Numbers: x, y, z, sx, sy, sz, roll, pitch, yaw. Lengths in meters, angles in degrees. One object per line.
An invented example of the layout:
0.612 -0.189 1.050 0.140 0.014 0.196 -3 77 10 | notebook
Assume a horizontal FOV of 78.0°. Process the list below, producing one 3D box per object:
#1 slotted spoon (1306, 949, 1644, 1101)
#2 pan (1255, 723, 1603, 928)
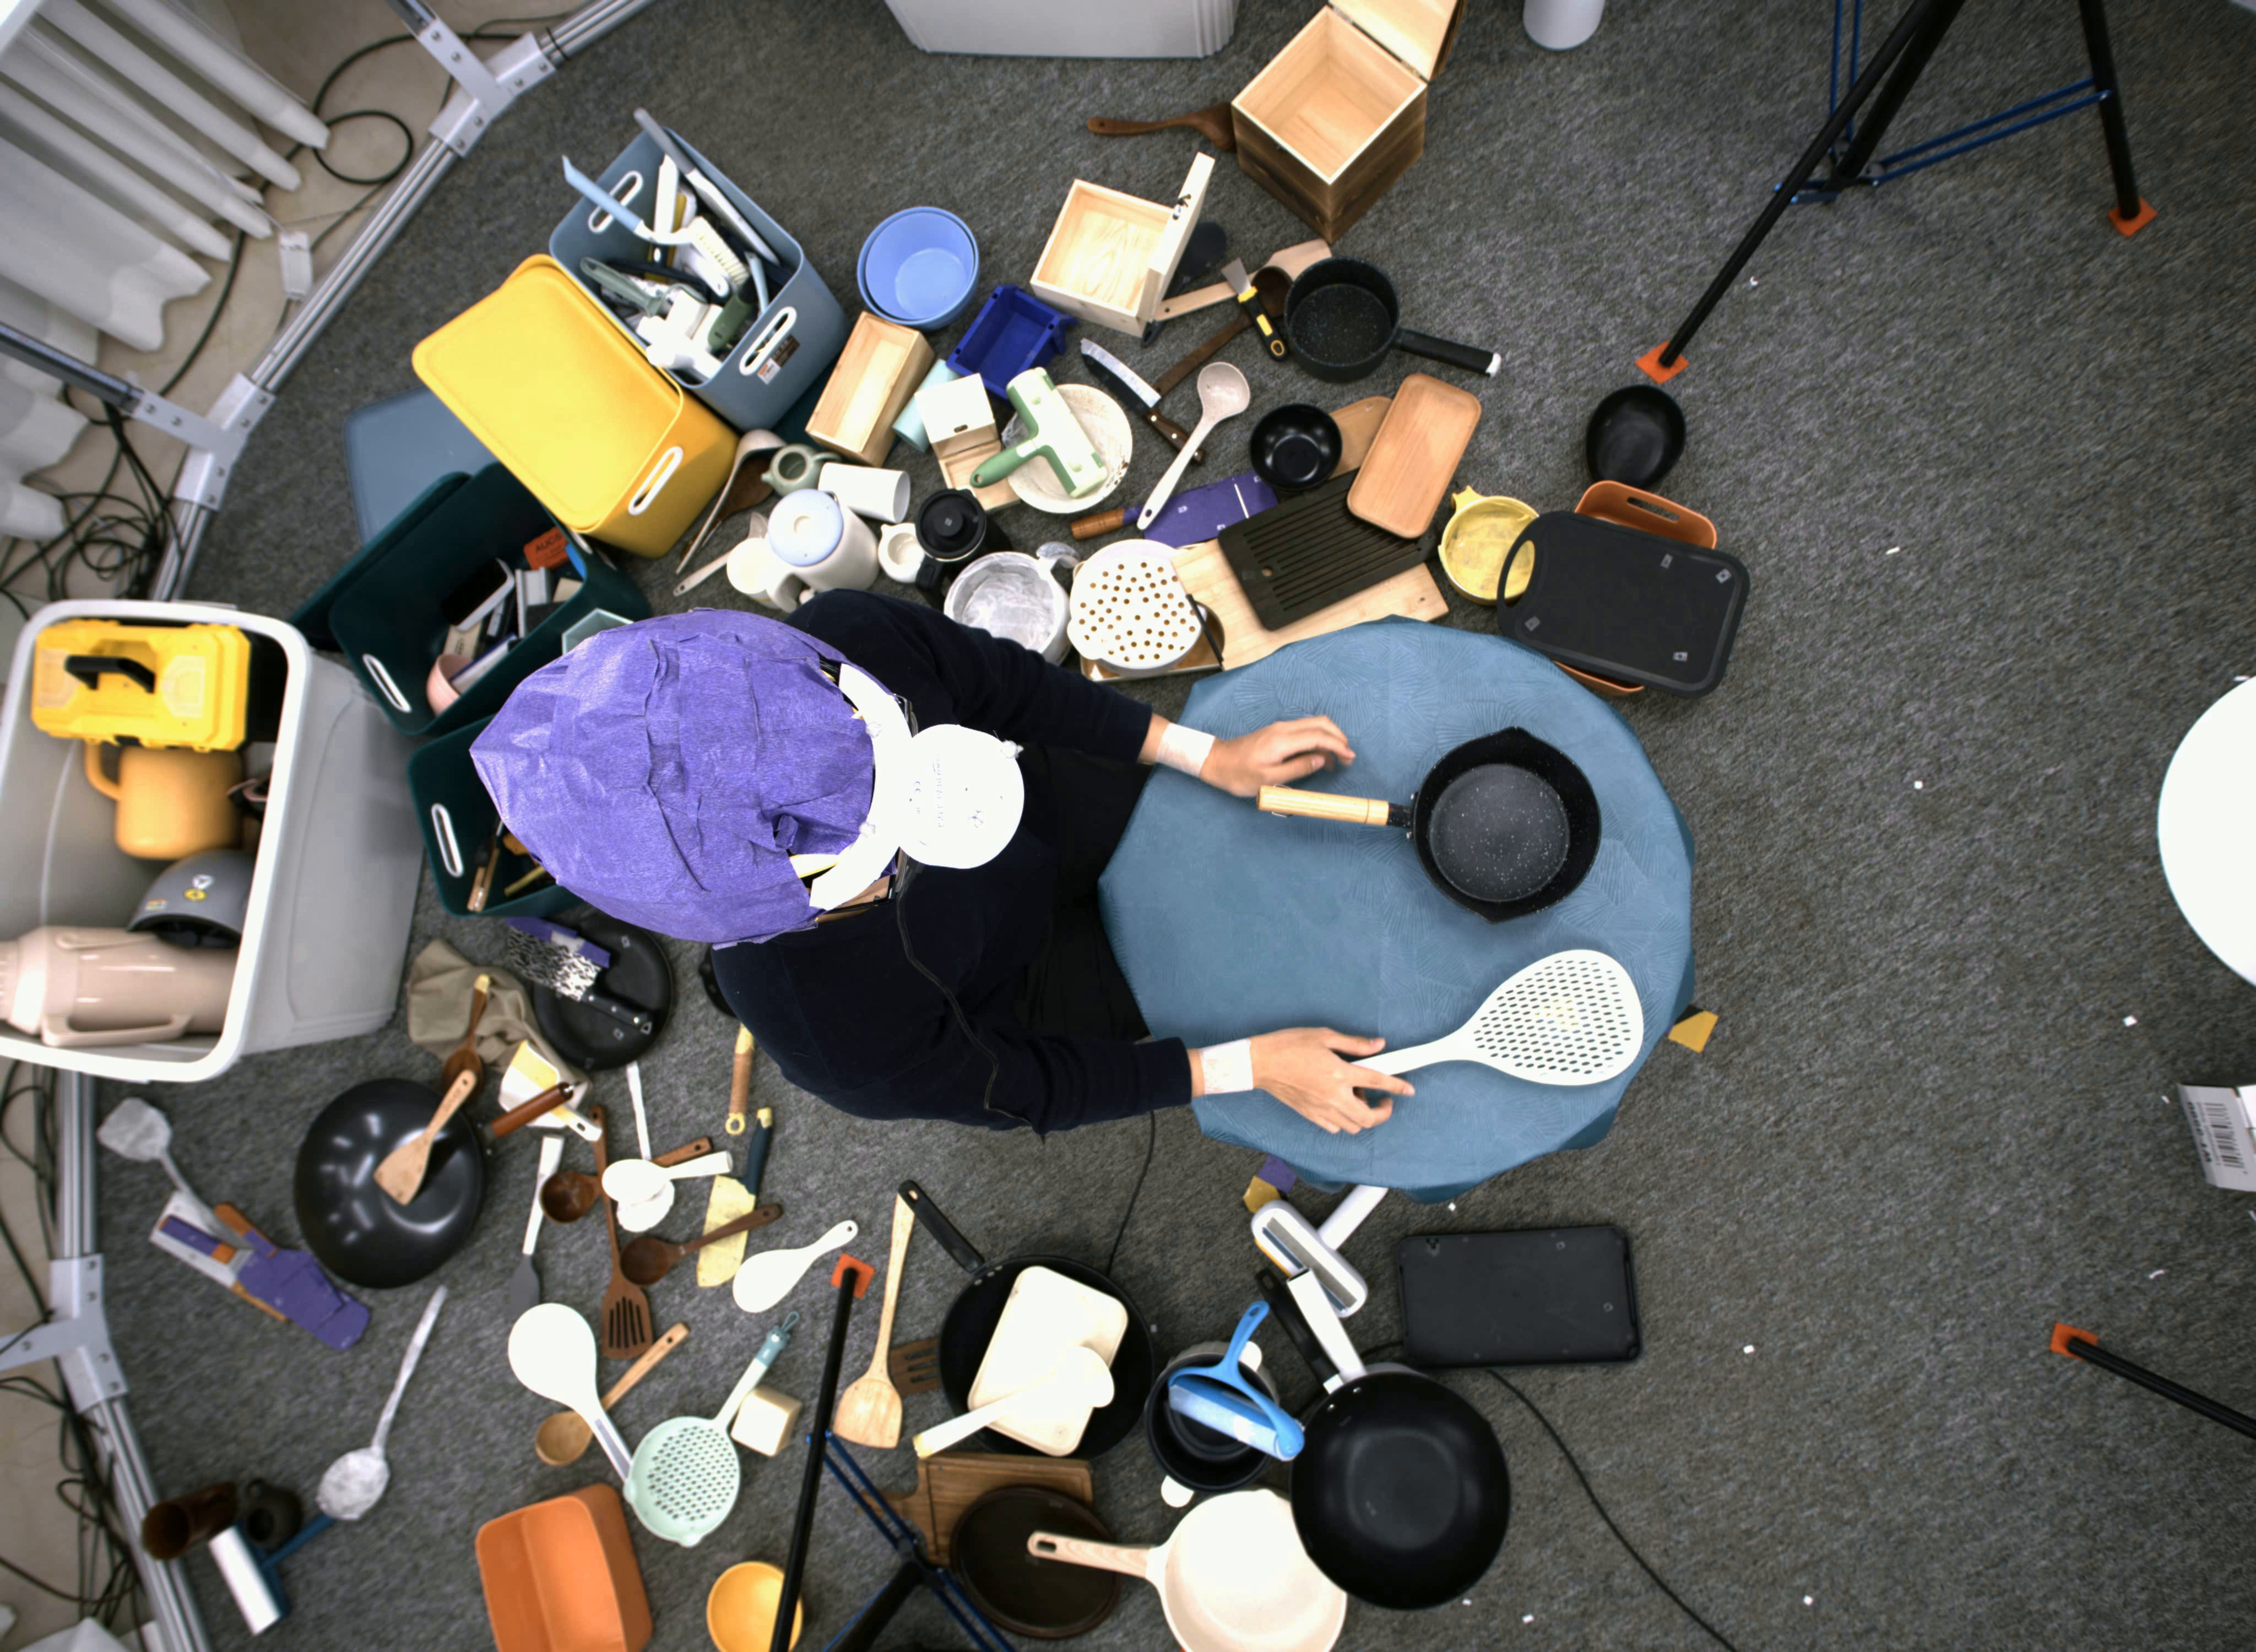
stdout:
0.348 0.222 1.415 0.349 0.050 0.136 -18 90 8 | slotted spoon
0.302 -0.007 1.404 0.344 0.108 0.207 5 88 9 | pan
